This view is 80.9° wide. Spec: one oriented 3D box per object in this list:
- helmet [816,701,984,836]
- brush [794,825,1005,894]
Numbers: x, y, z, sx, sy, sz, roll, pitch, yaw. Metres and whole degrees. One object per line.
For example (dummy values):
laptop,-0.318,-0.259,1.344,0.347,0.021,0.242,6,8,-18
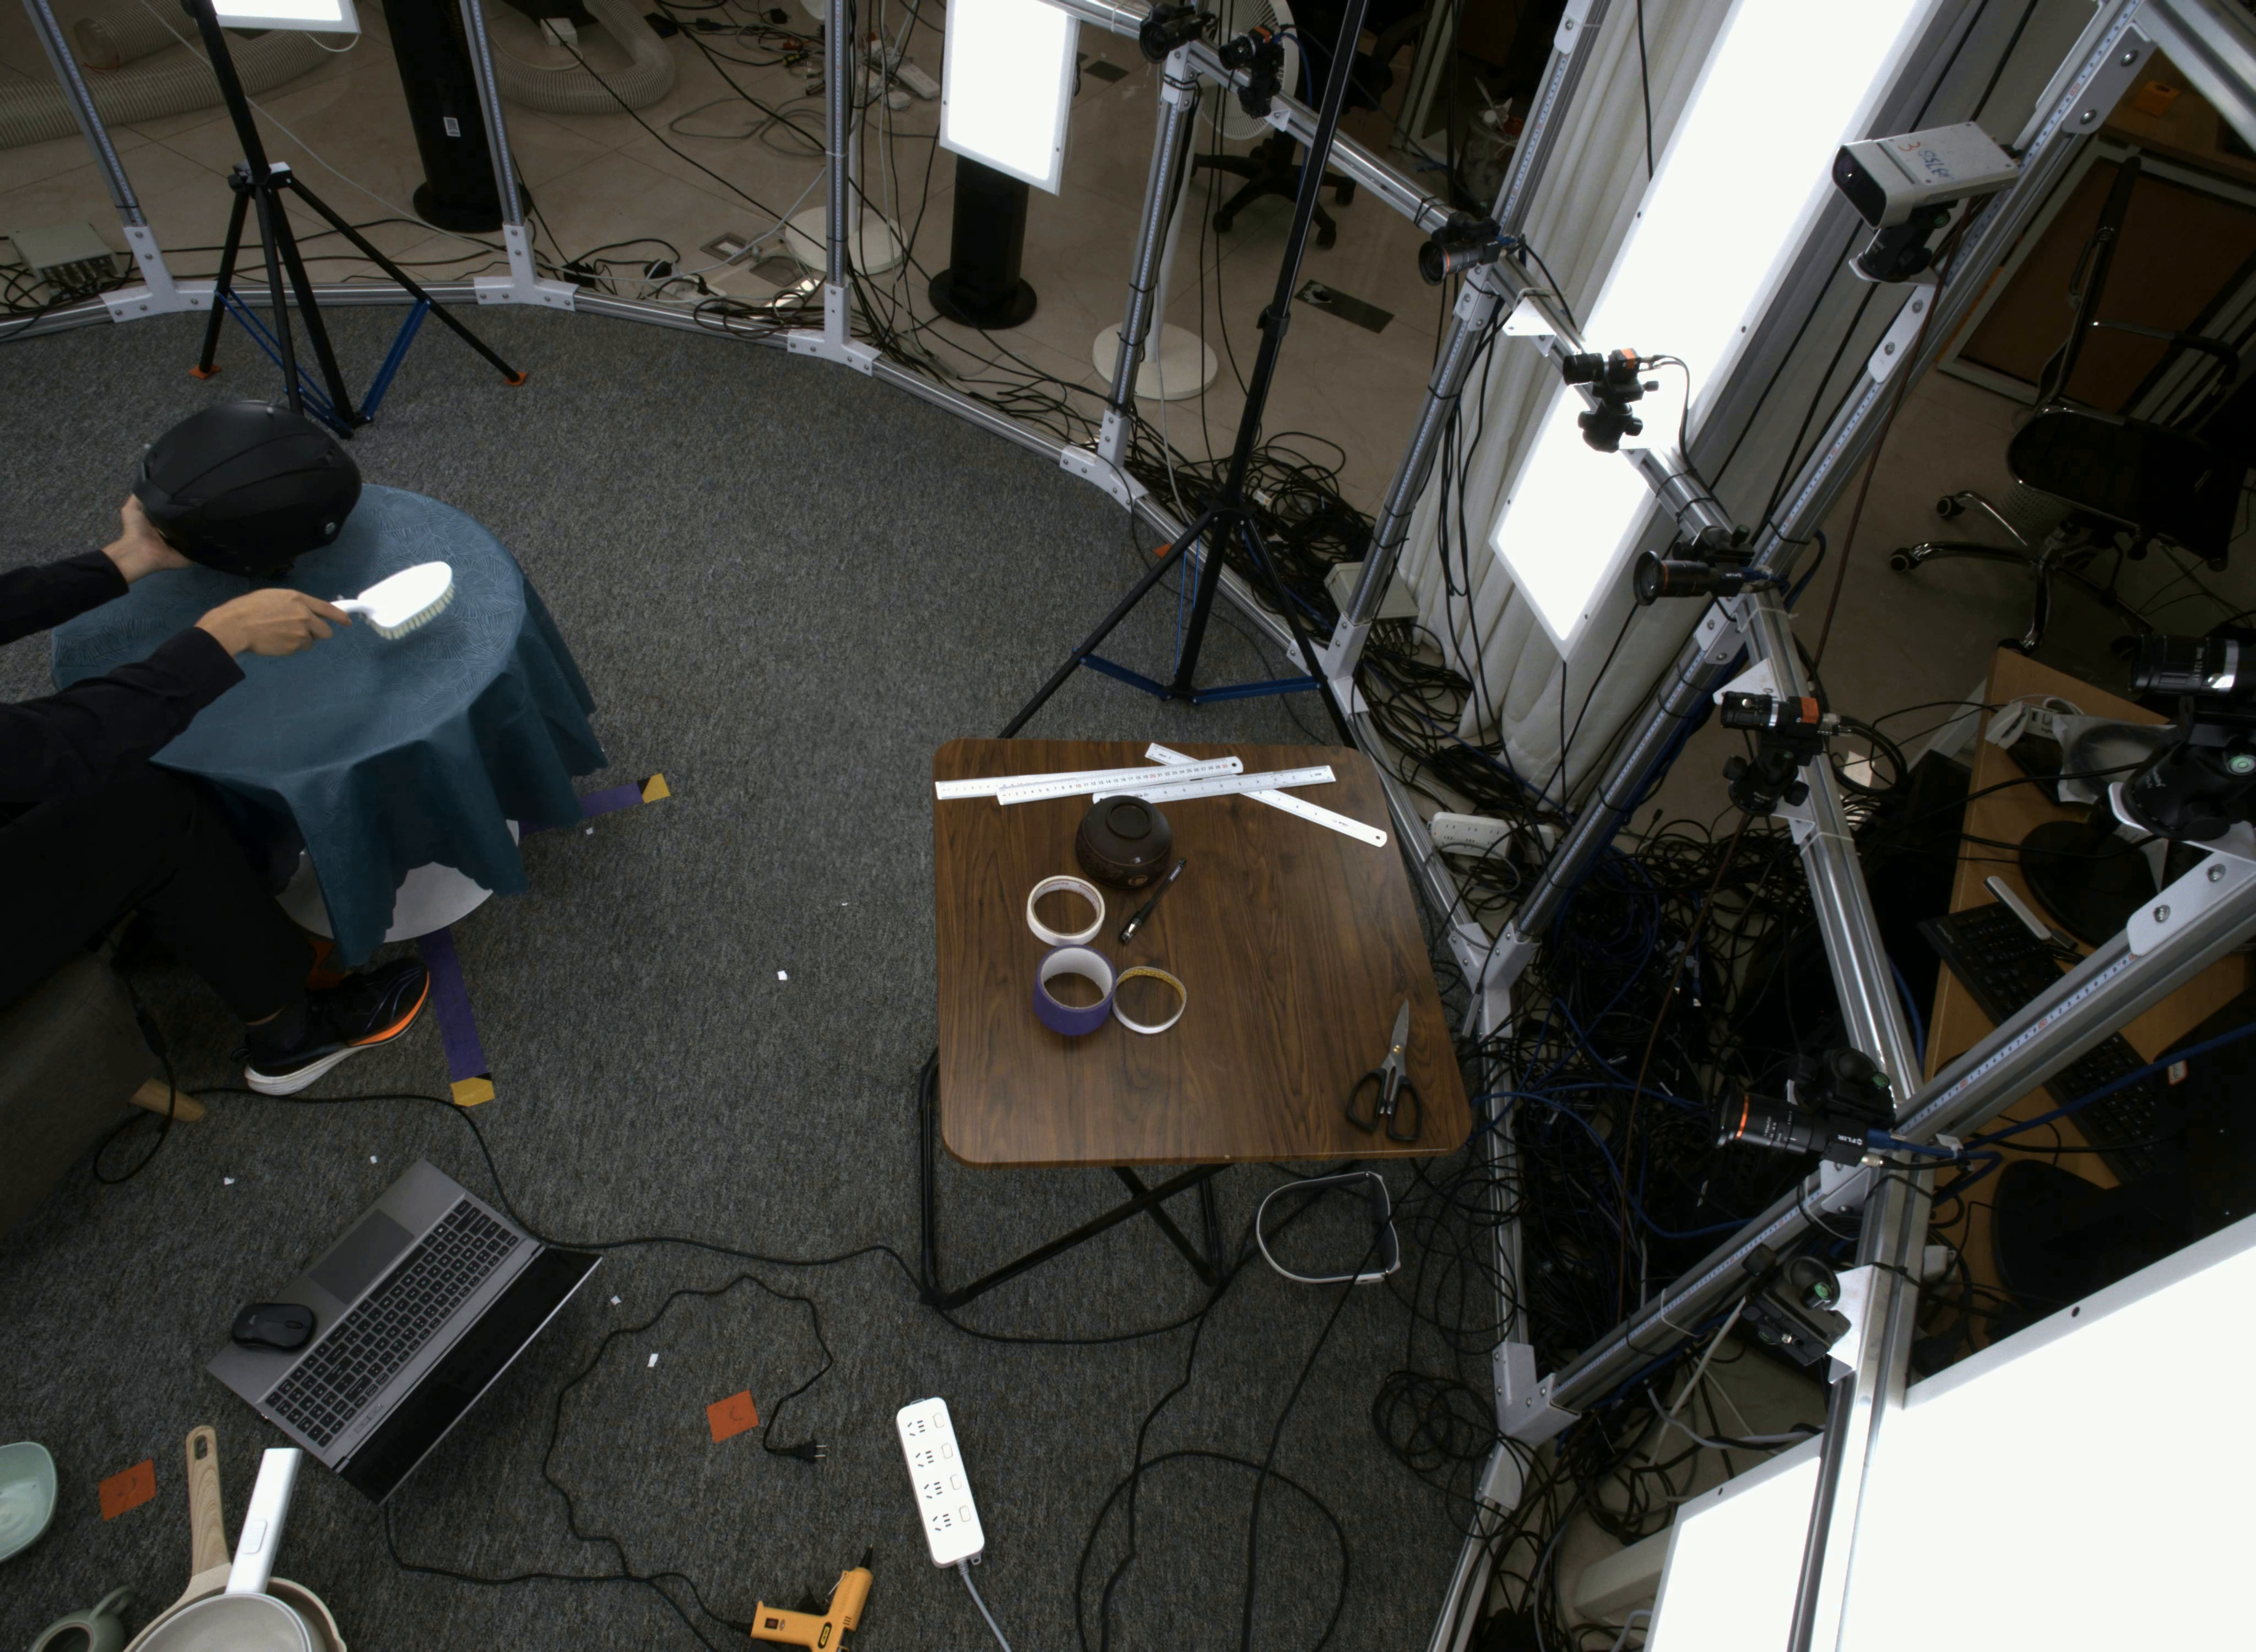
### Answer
helmet,-0.372,-0.112,2.127,0.279,0.177,0.238,-7,41,-24
brush,-0.335,0.052,1.906,0.331,0.085,0.081,5,-2,-31
